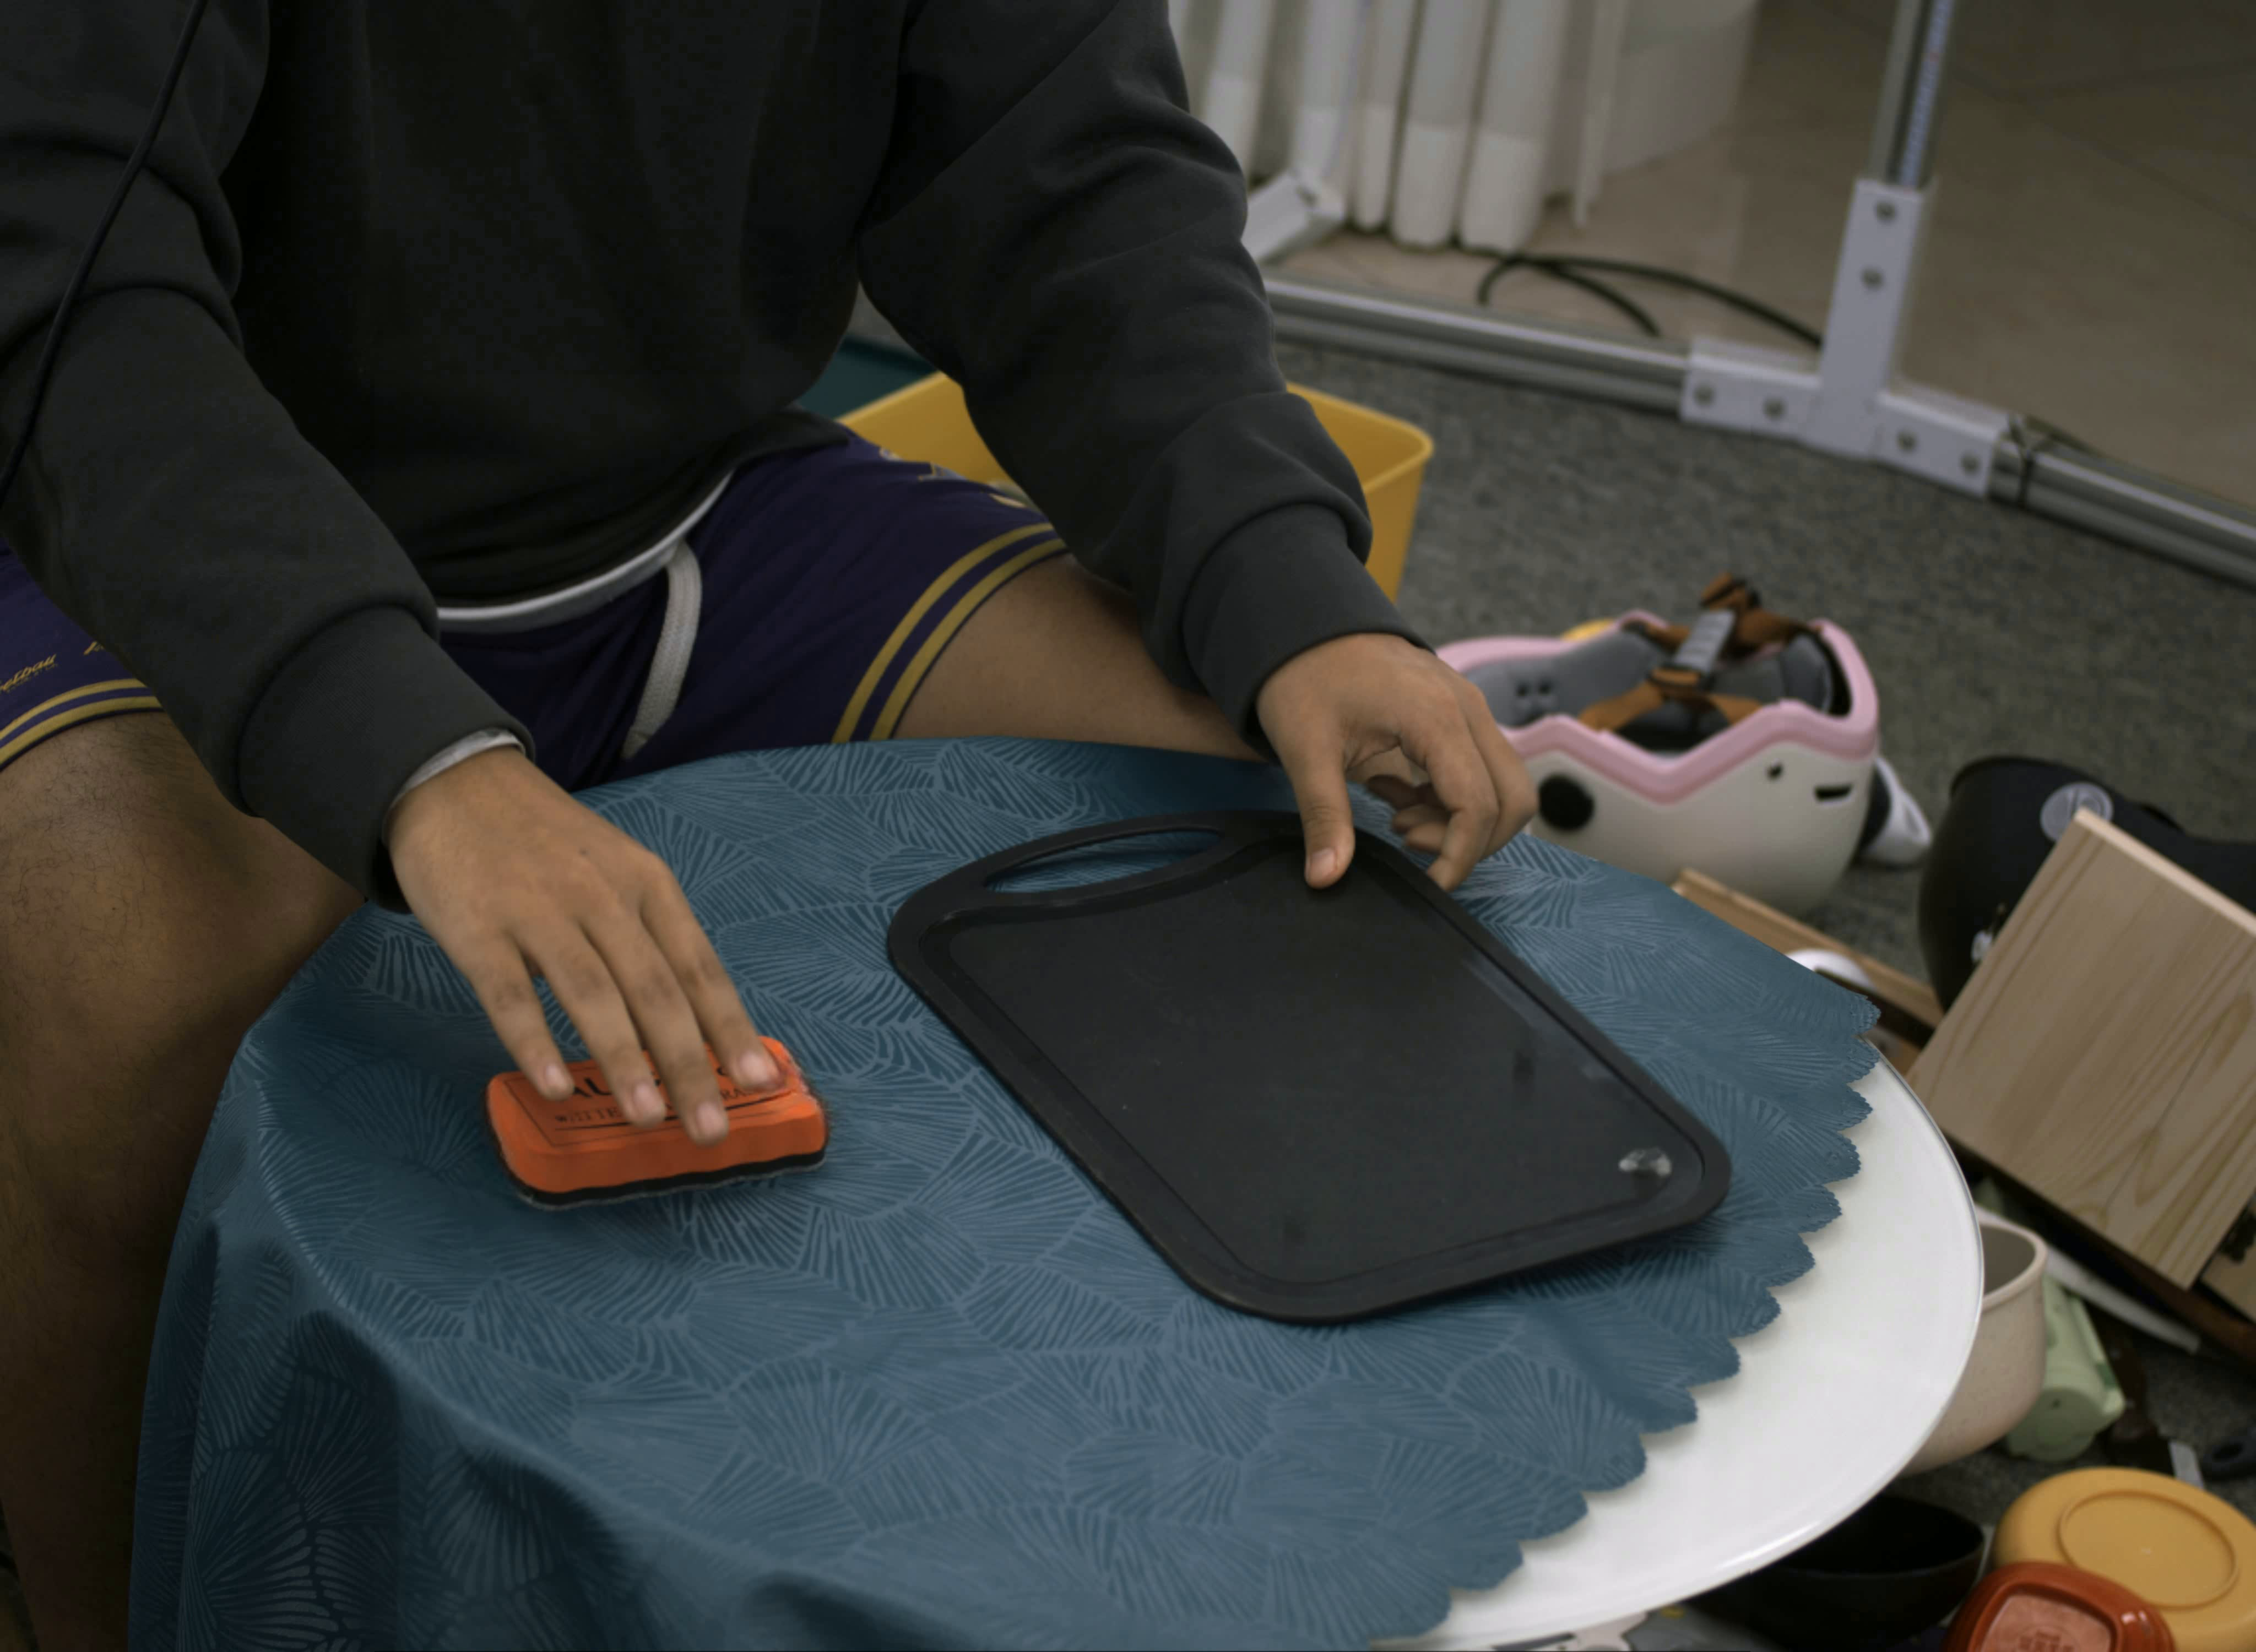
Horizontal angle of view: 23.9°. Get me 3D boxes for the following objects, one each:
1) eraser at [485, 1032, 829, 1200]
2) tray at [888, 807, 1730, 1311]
[{"bbox_3d":[-0.158,0.097,1.786,0.107,0.023,0.059,-6,29,-27],"label":"eraser"},{"bbox_3d":[0.055,0.072,1.887,0.210,0.010,0.328,-13,32,-24],"label":"tray"}]
